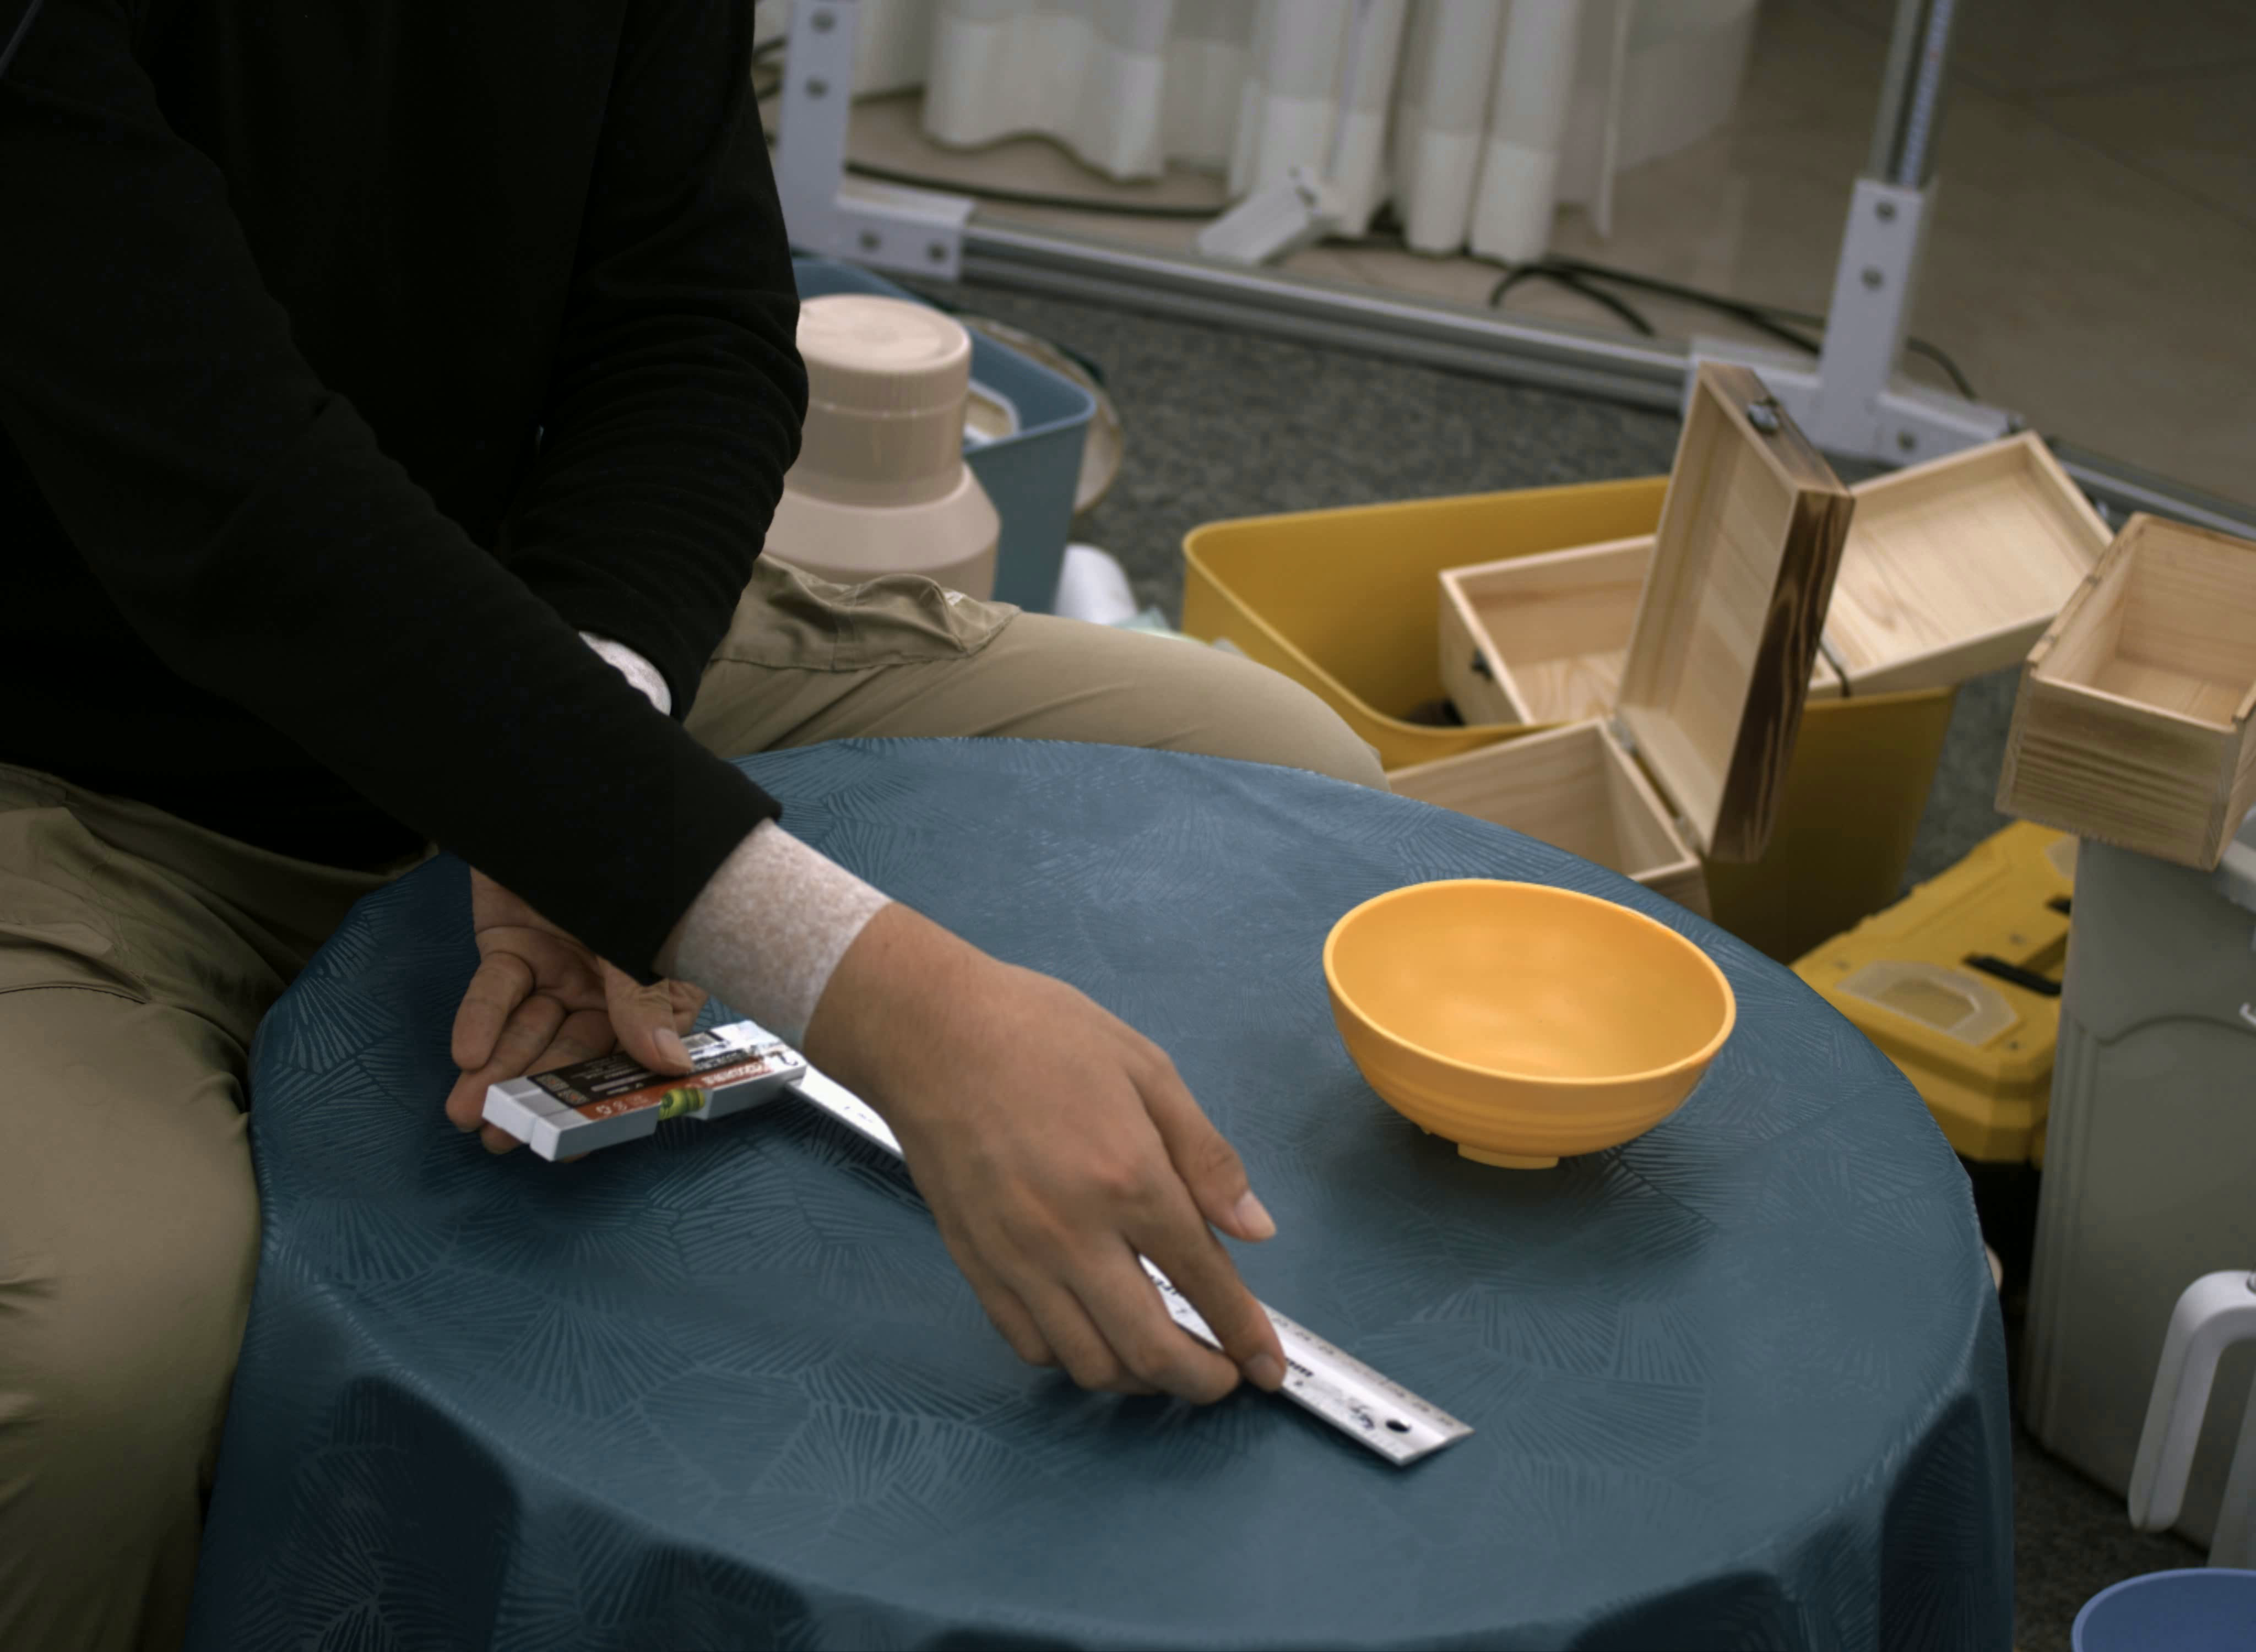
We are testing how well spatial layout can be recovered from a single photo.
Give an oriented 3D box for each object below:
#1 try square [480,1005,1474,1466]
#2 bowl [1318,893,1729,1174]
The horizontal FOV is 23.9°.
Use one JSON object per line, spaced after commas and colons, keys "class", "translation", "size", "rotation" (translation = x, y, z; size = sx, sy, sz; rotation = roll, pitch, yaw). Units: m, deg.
{"class": "try square", "translation": [-0.052, 0.142, 1.723], "size": [0.315, 0.016, 0.151], "rotation": [29, 28, 33]}
{"class": "bowl", "translation": [0.134, 0.080, 1.857], "size": [0.145, 0.060, 0.146], "rotation": [6, 24, -3]}
